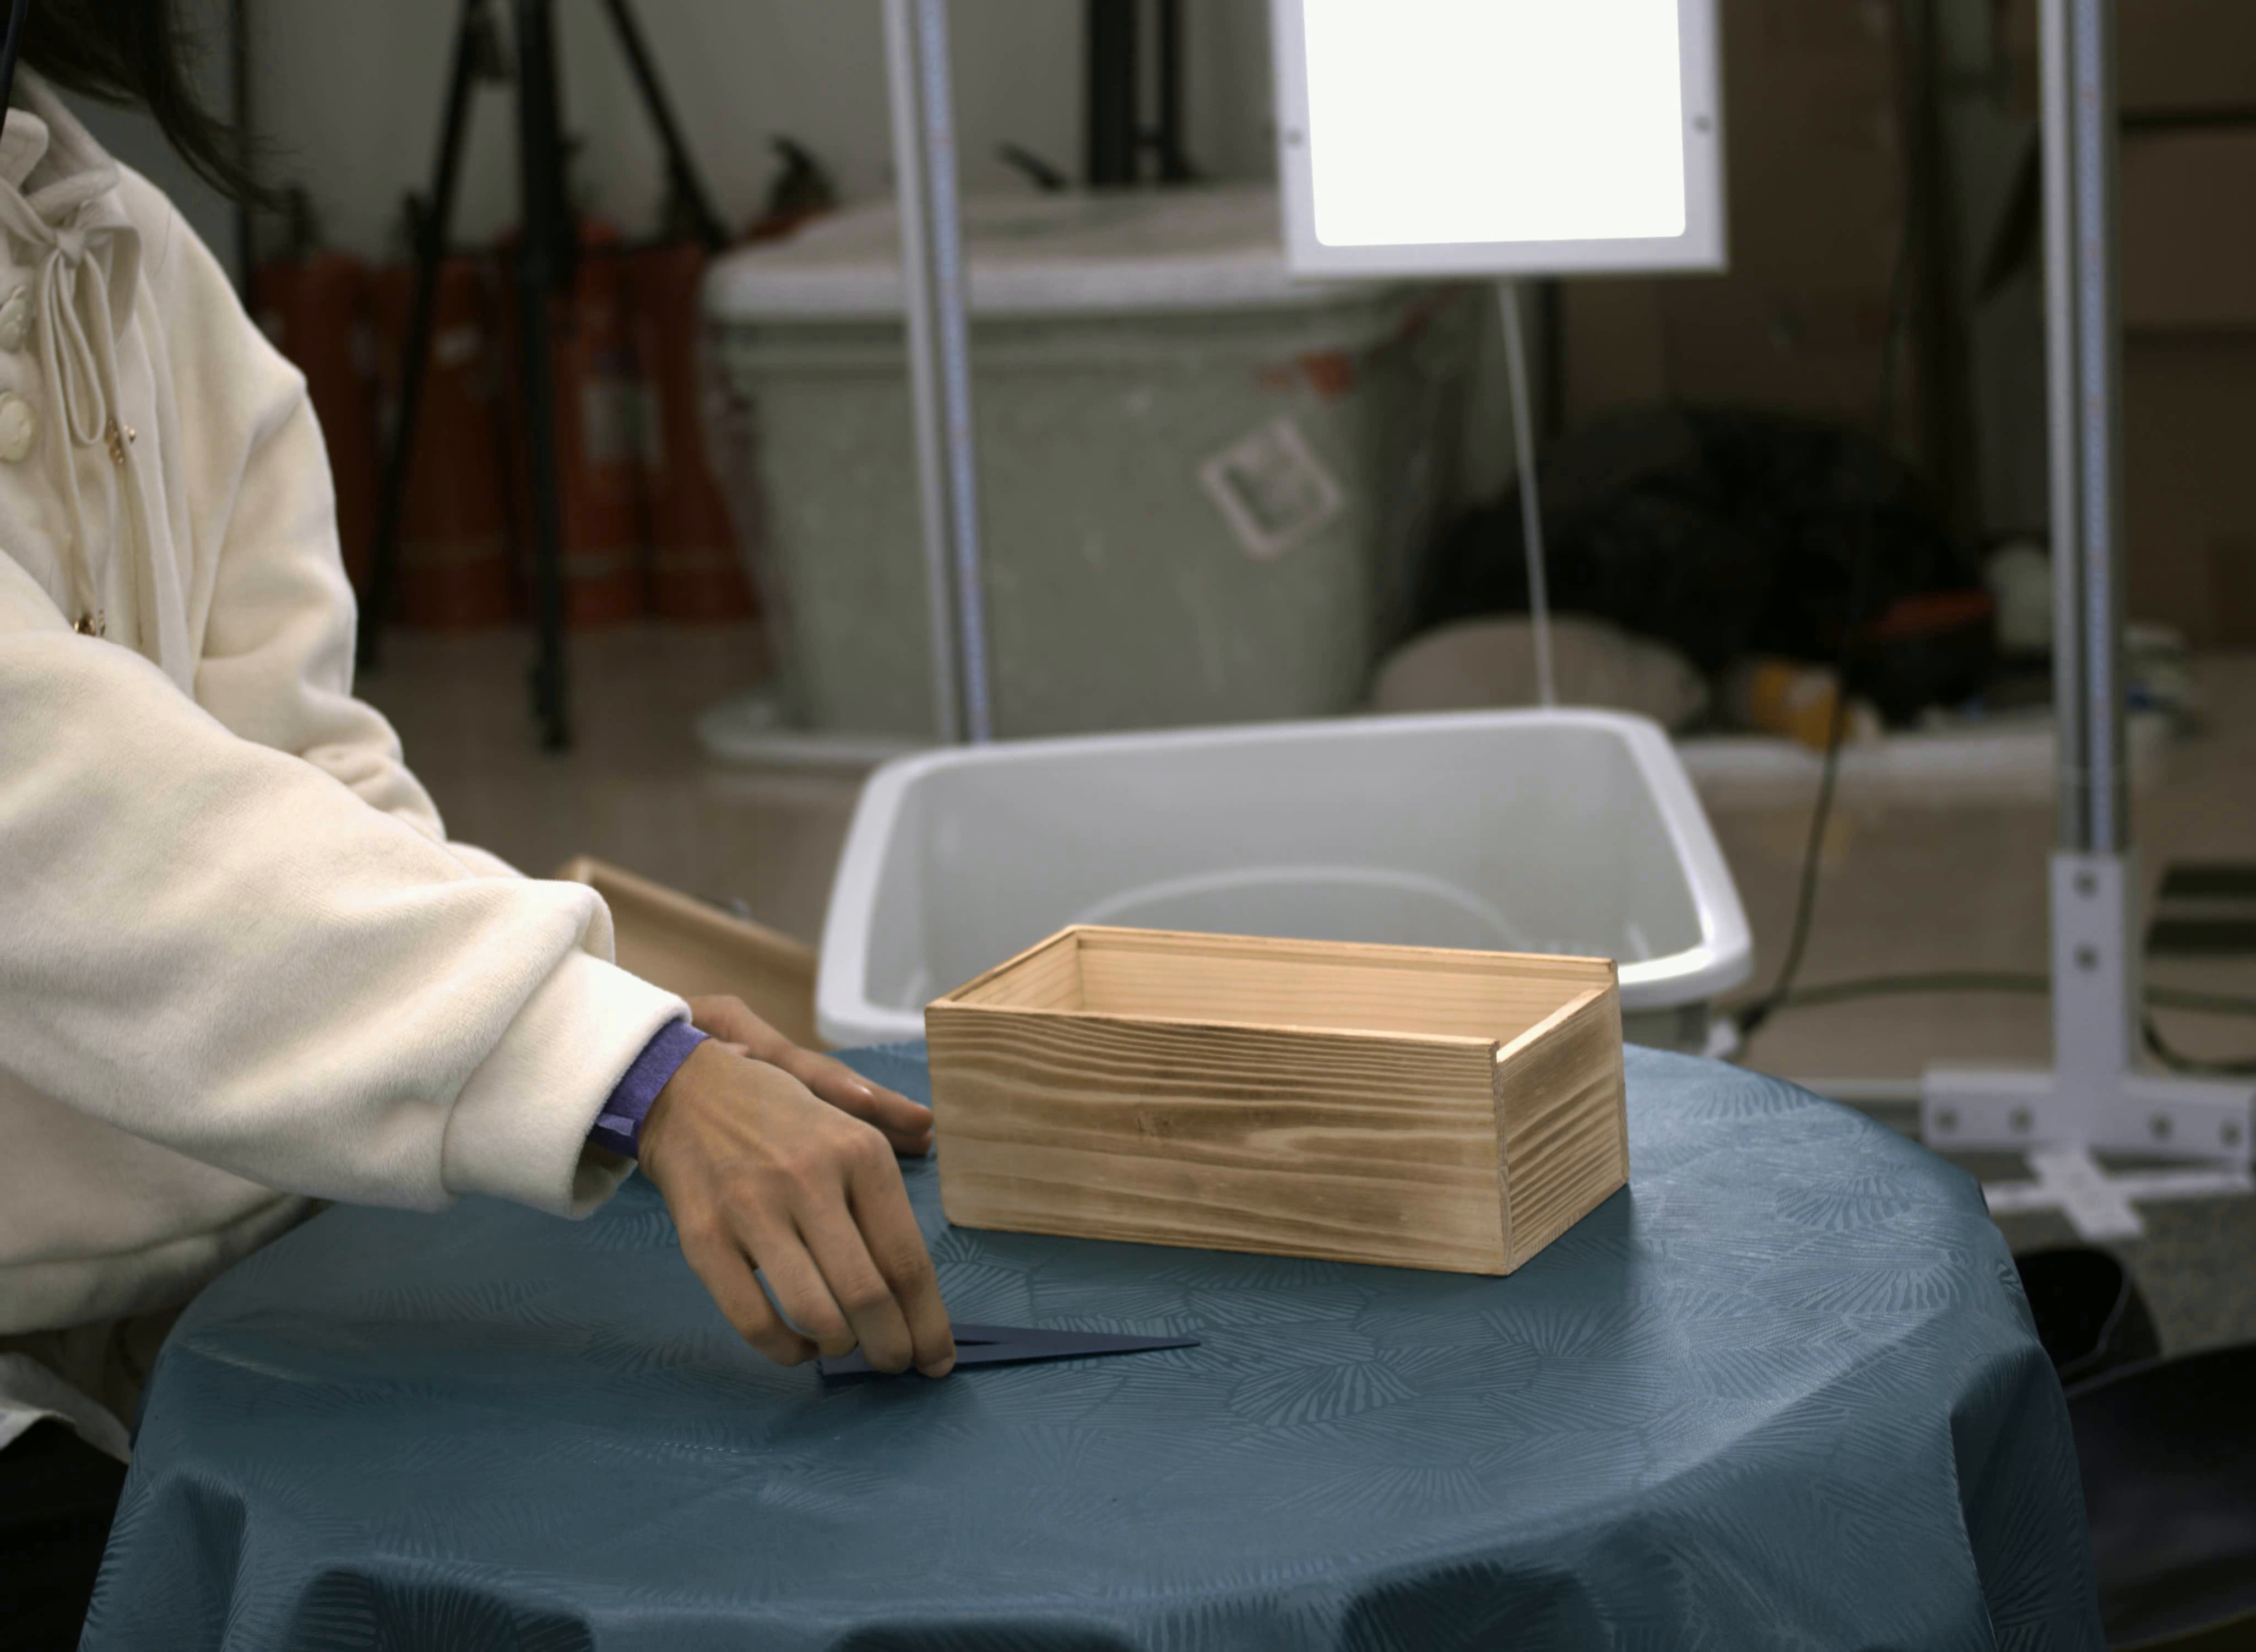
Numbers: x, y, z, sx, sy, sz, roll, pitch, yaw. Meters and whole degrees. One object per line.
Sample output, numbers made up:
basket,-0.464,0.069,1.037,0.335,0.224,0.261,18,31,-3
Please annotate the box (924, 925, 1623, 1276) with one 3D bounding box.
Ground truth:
box,0.049,0.090,1.860,0.215,0.080,0.105,3,15,29

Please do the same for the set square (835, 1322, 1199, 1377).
set square,-0.045,0.167,1.733,0.134,0.006,0.060,3,11,30
